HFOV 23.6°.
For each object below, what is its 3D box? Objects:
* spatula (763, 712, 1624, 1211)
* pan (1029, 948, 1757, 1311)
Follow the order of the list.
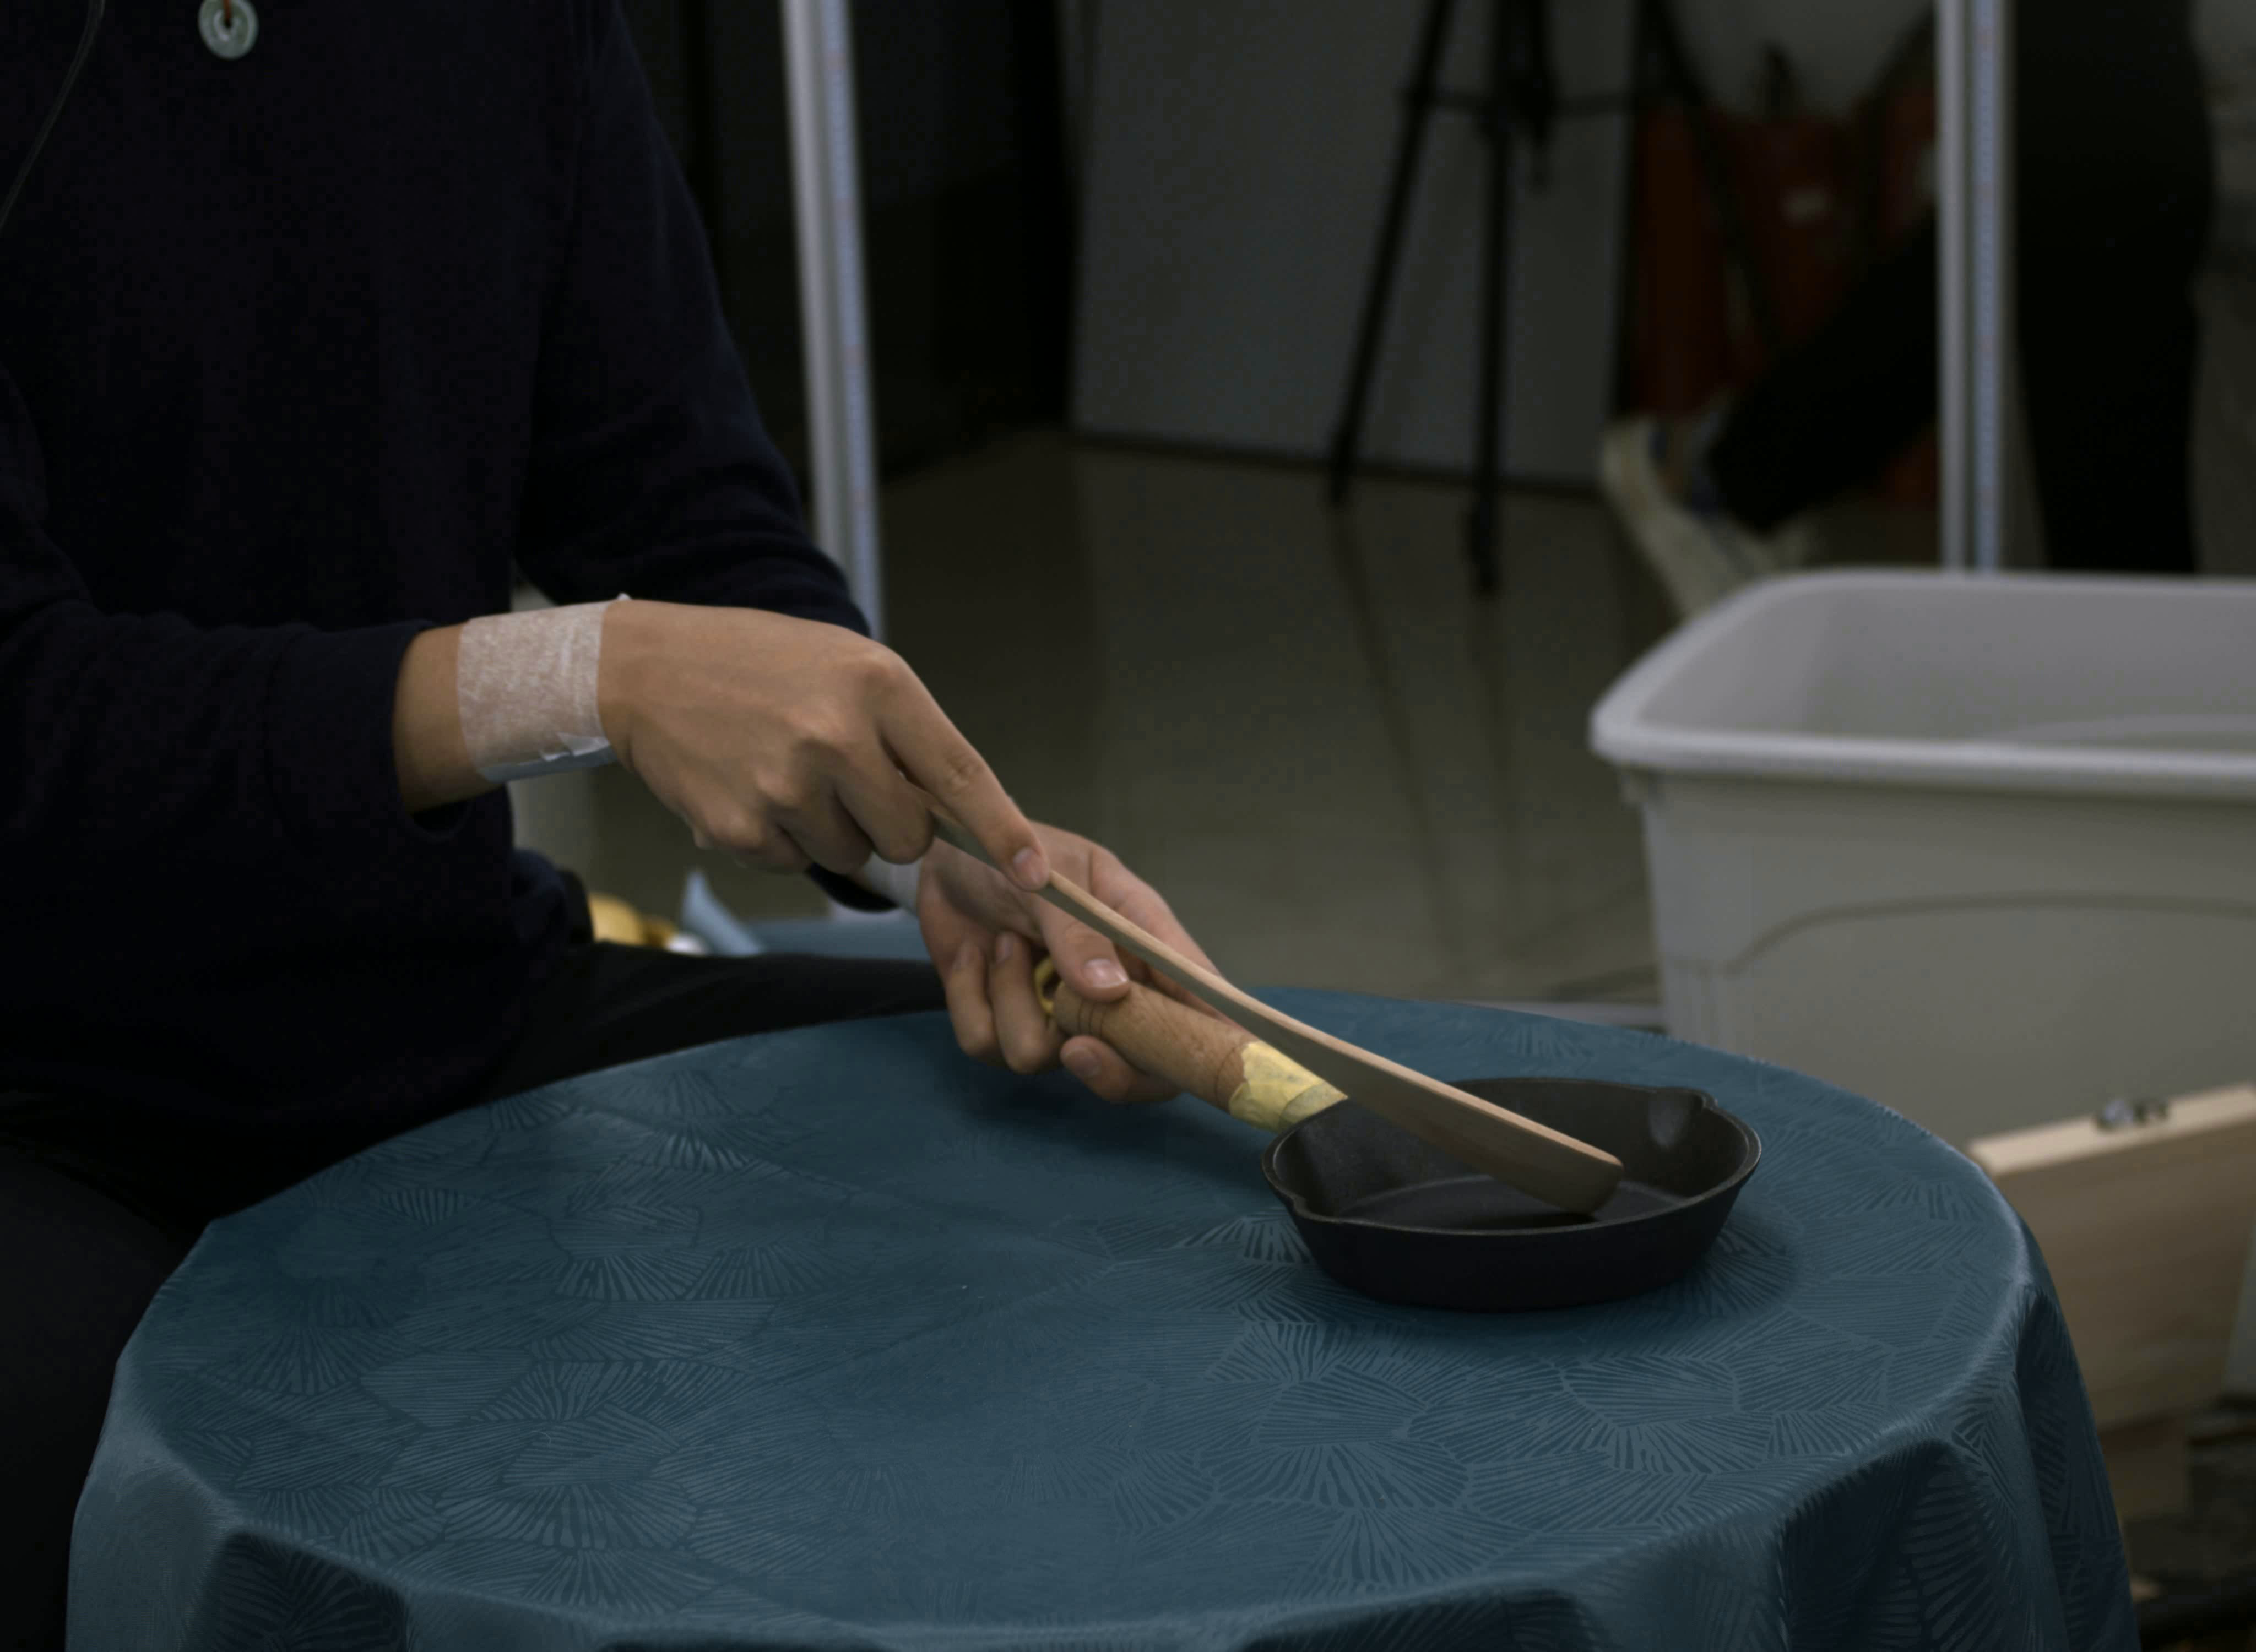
[{"bbox_3d":[0.018,0.042,1.723,0.328,0.016,0.079,31,-16,19],"label":"spatula"},{"bbox_3d":[0.070,0.094,1.751,0.165,0.050,0.327,-13,18,-34],"label":"pan"}]
